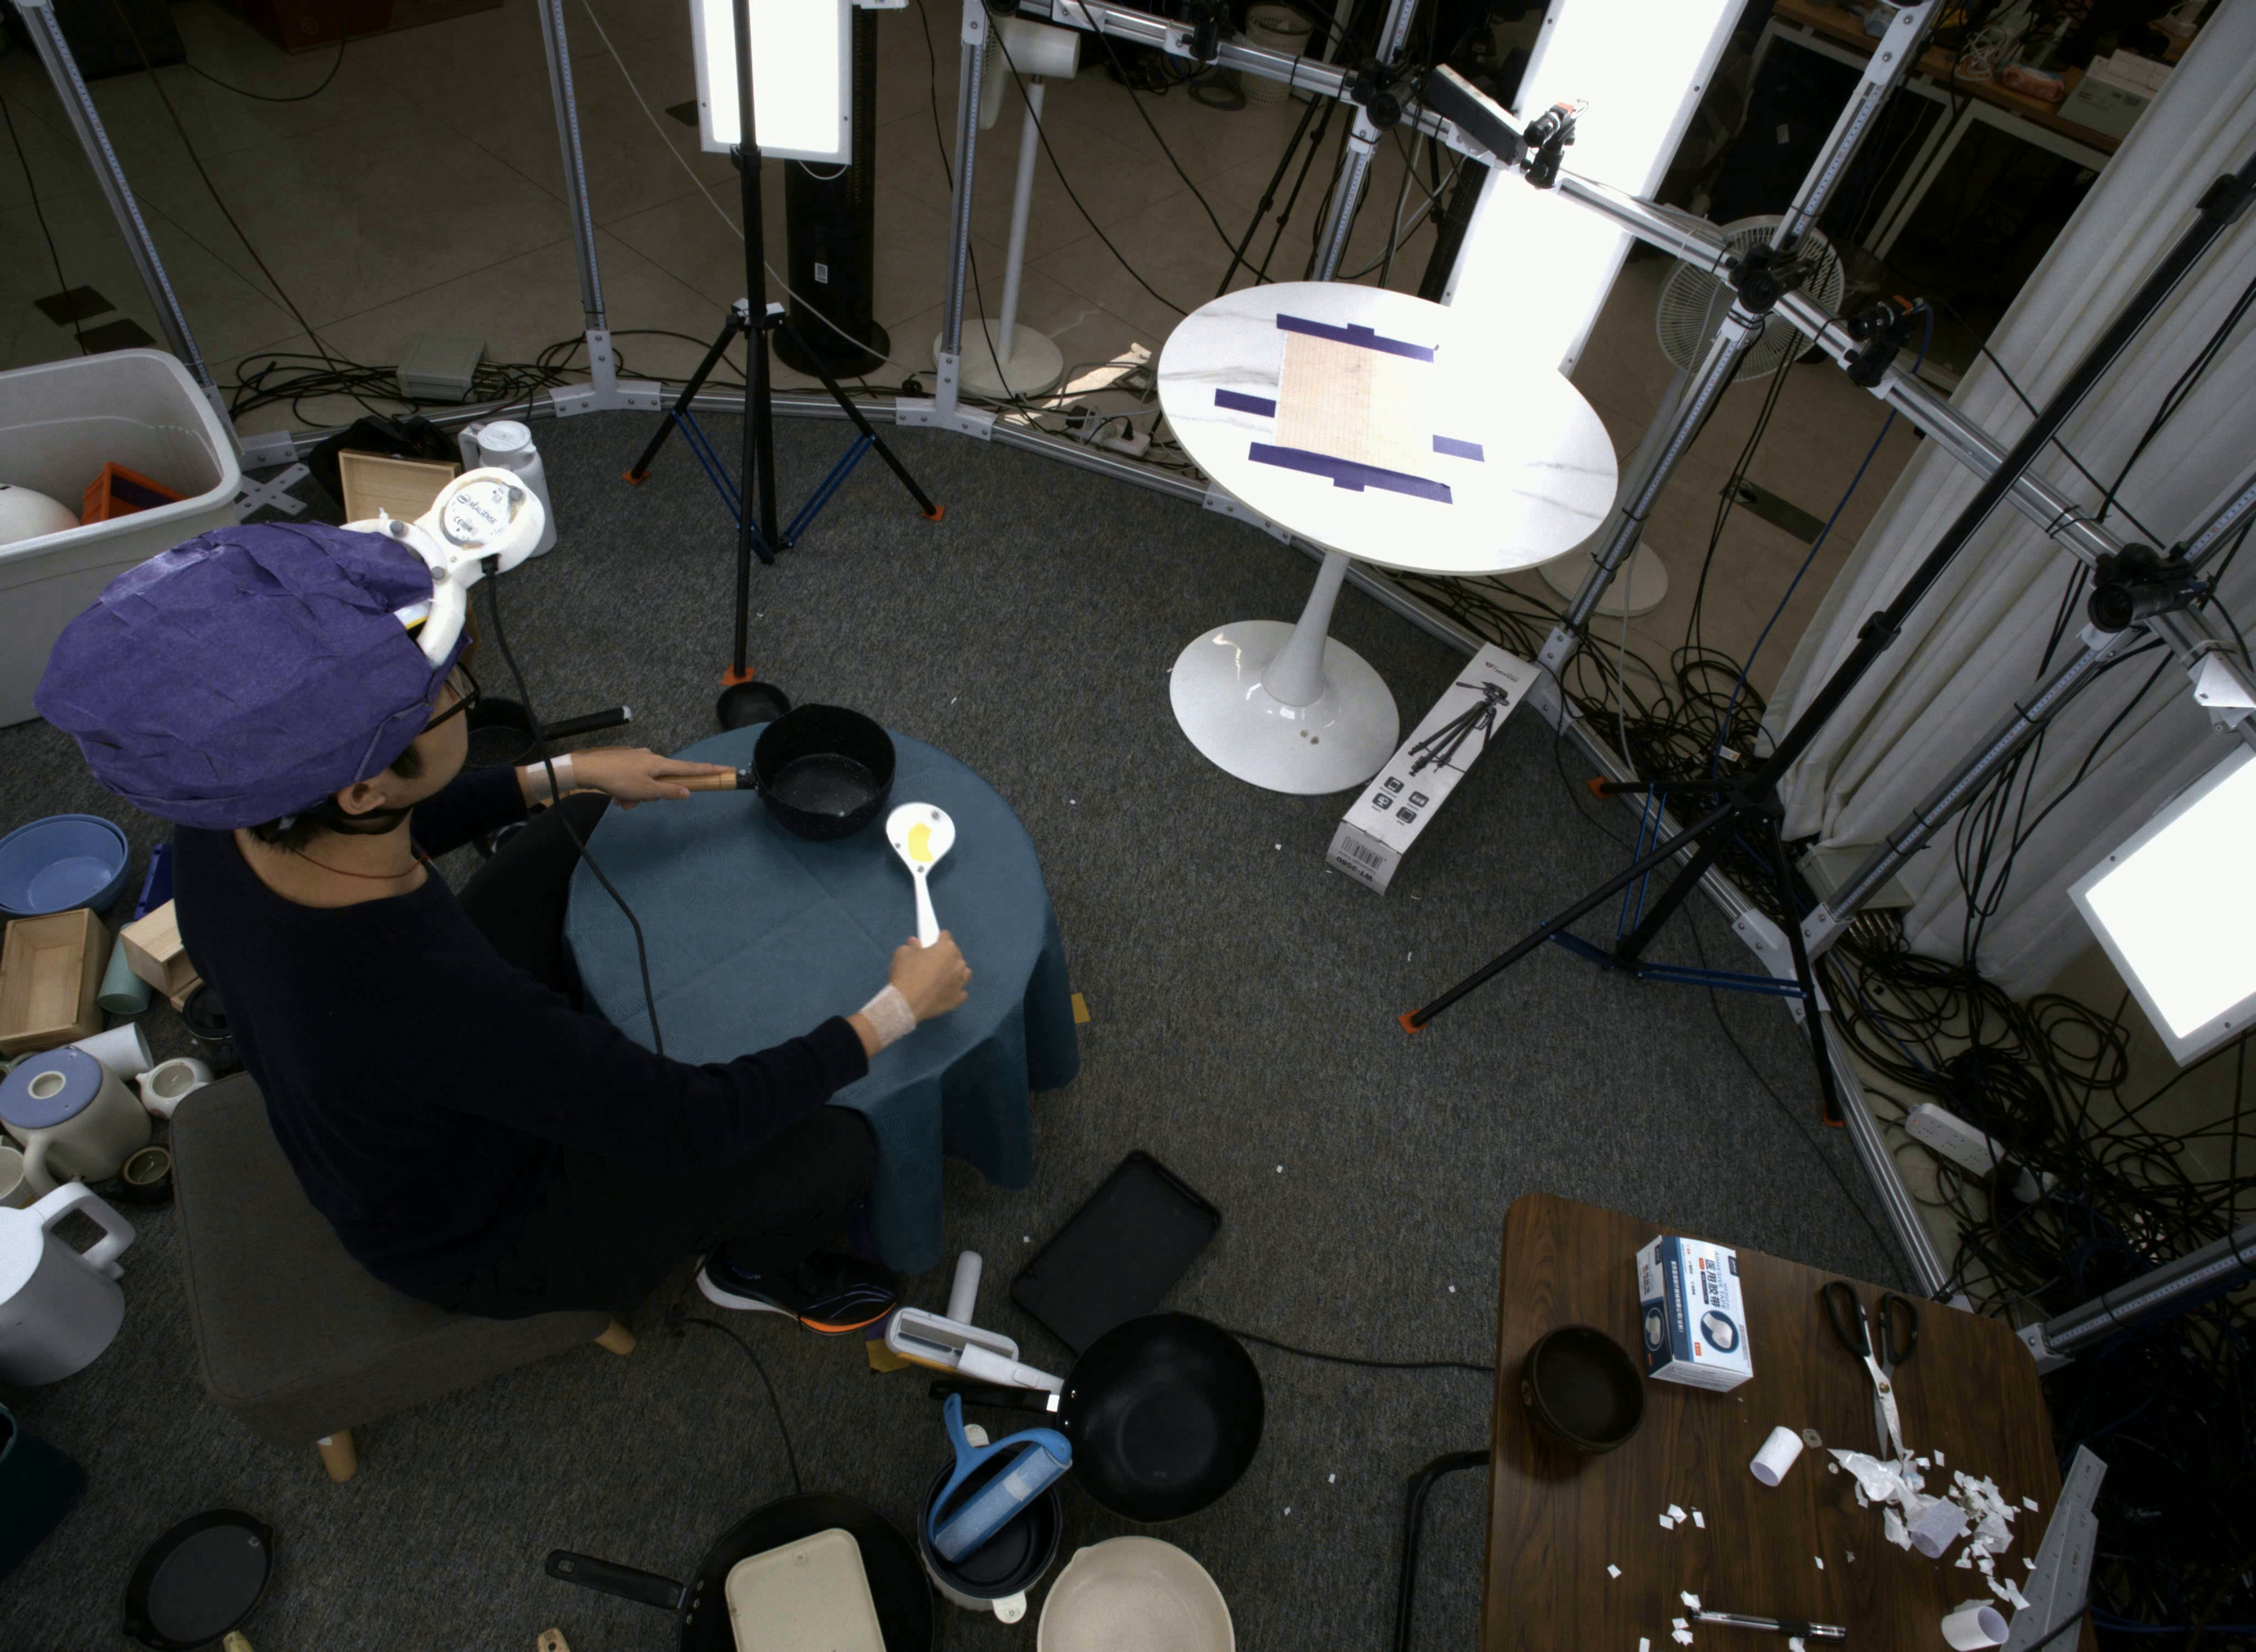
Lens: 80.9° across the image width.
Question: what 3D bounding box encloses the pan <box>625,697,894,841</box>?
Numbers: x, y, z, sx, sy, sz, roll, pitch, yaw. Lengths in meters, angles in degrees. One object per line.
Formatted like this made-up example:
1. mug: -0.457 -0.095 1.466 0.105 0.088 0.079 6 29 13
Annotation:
1. pan: -0.473 -0.057 1.674 0.345 0.110 0.202 -12 58 -25

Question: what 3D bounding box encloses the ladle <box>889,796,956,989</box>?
1. ladle: -0.253 0.074 1.613 0.091 0.071 0.285 11 34 -19
